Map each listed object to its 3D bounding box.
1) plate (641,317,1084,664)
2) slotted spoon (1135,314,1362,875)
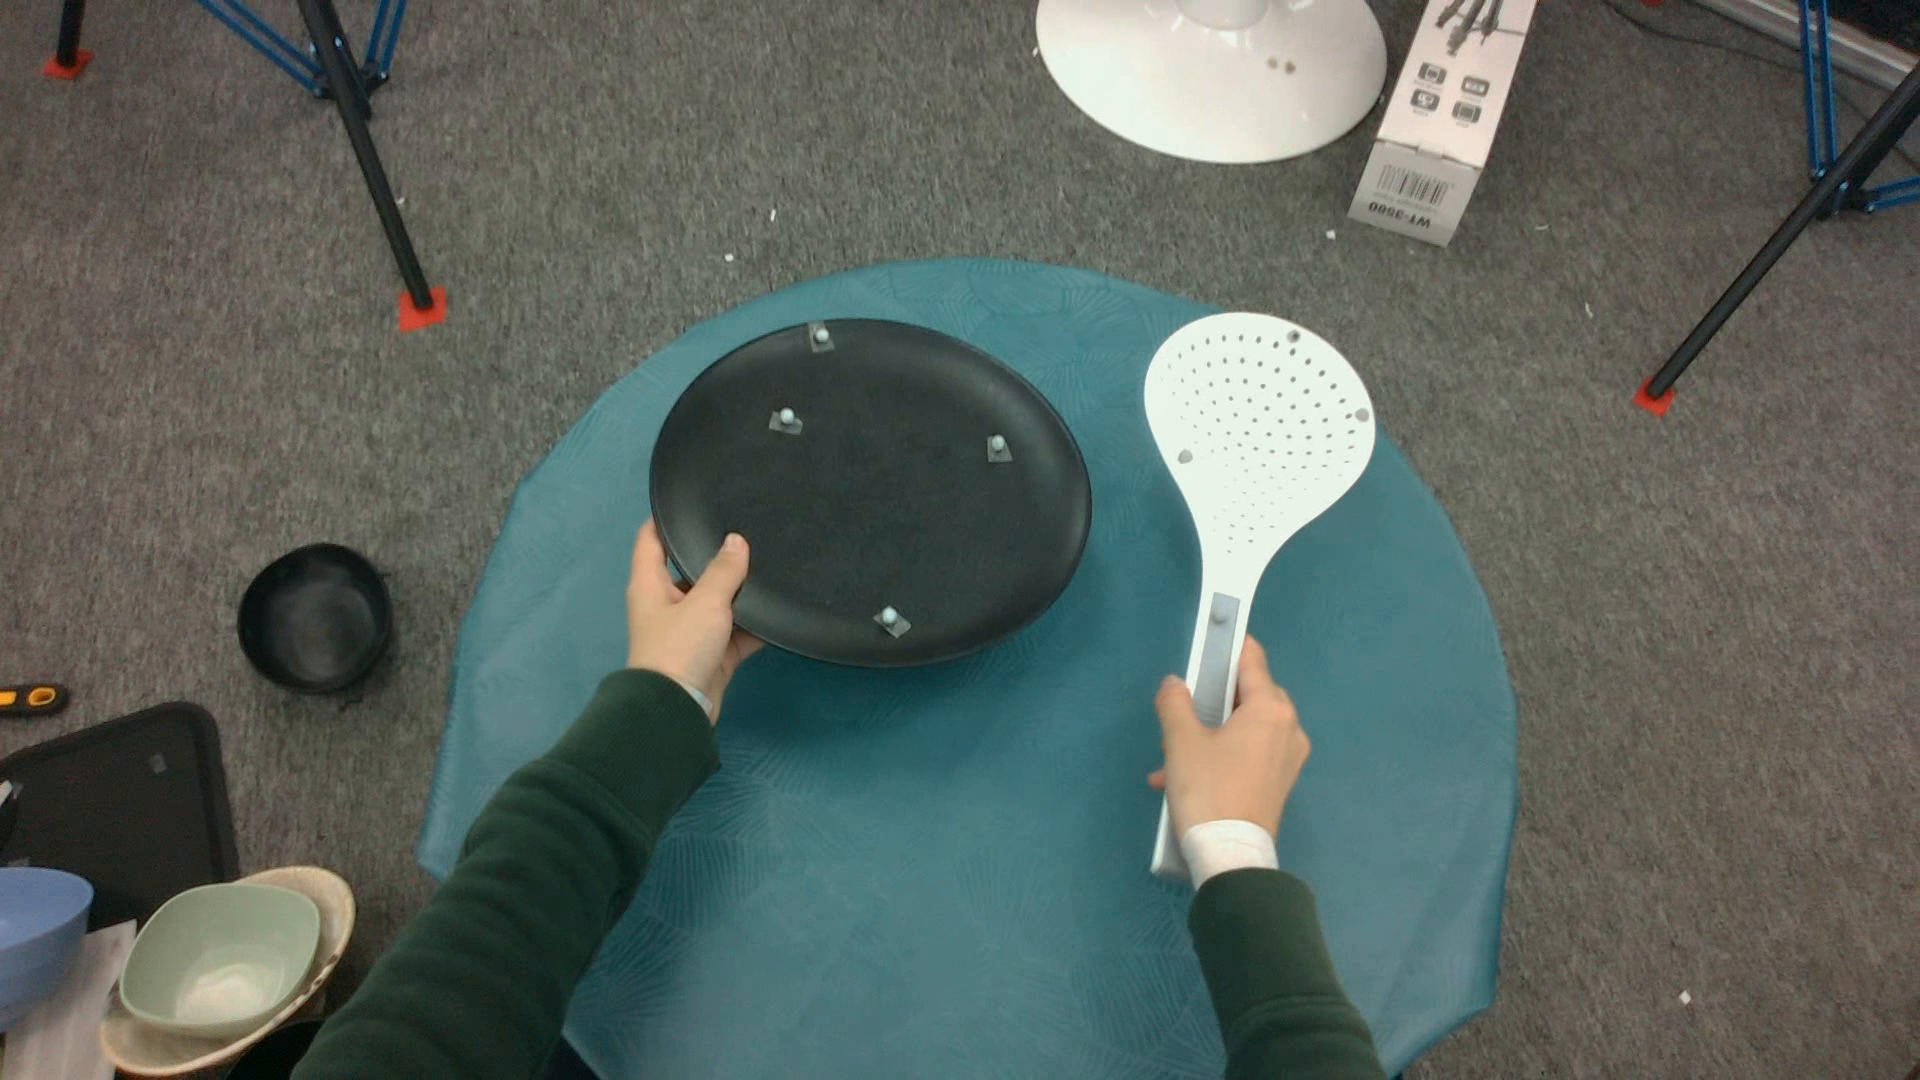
[{"bbox_3d":[-0.052,-0.032,0.764,0.244,0.023,0.245,5,52,-7],"label":"plate"},{"bbox_3d":[0.142,0.015,0.754,0.136,0.045,0.351,15,55,1],"label":"slotted spoon"}]
